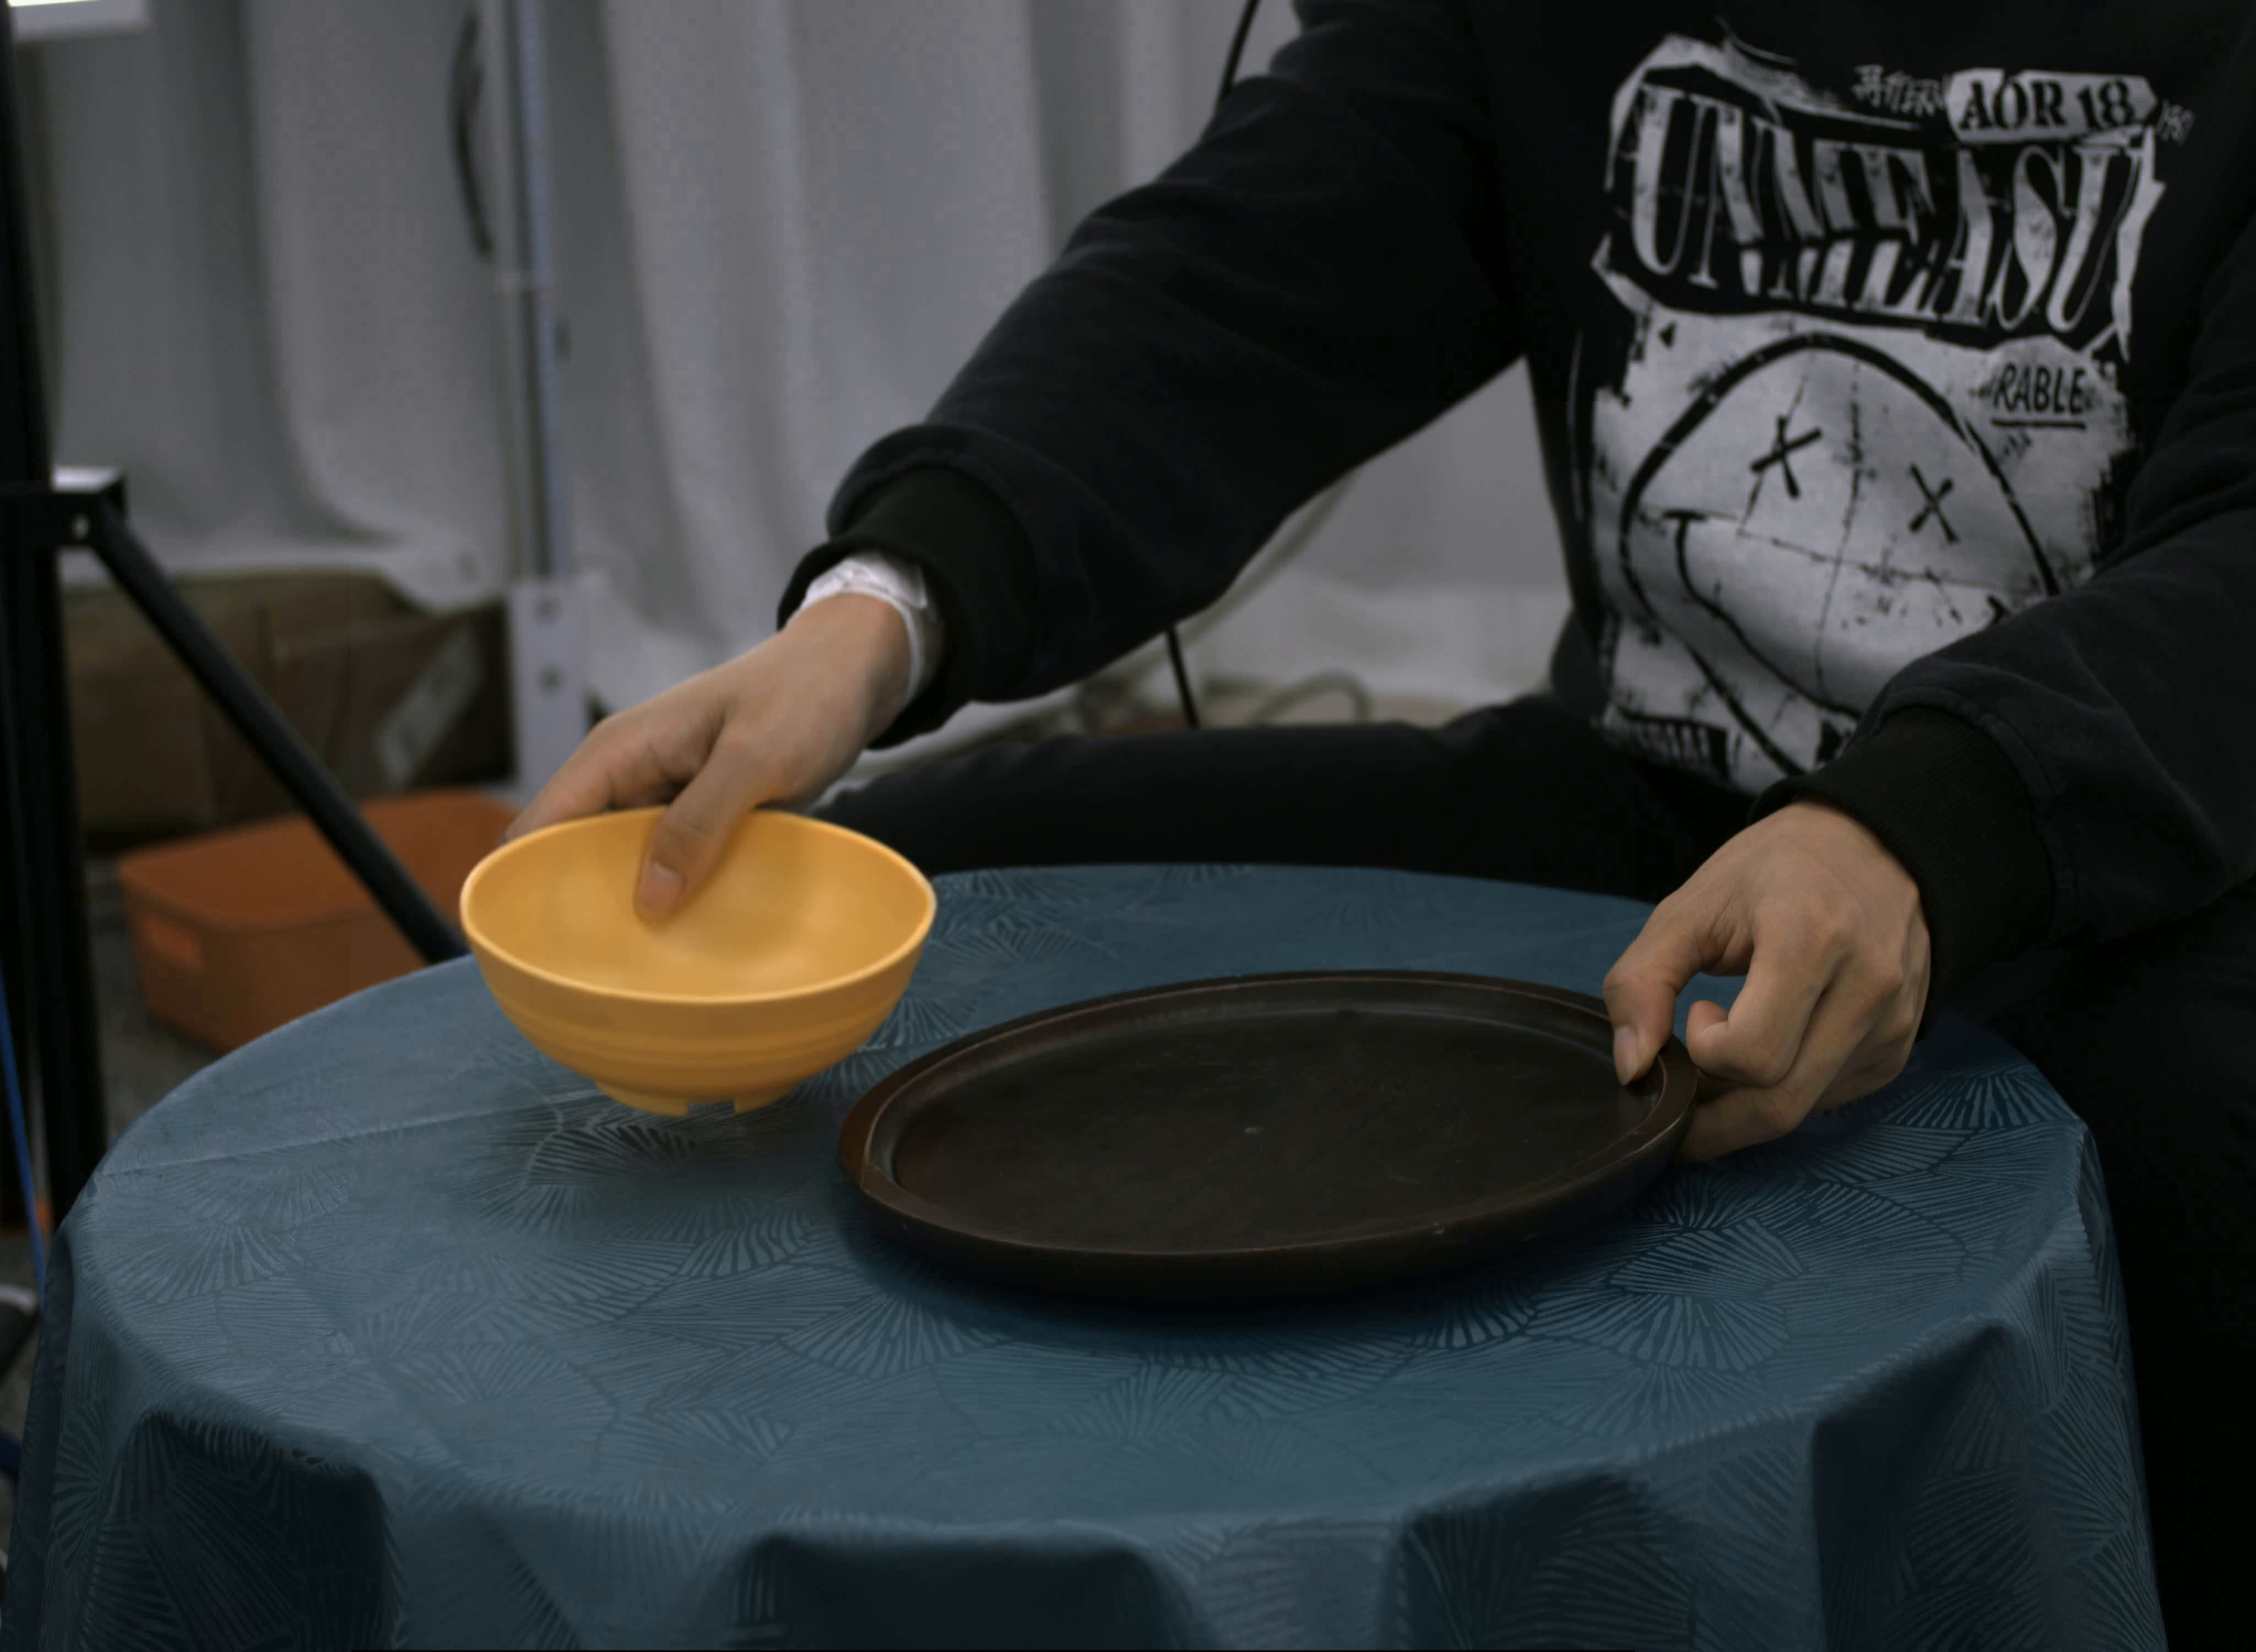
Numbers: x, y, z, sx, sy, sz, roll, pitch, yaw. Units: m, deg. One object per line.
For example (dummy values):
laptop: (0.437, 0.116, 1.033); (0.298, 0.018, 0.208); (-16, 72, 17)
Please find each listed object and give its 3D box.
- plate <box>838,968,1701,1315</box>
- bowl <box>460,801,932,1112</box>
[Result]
plate: (0.042, 0.090, 1.552); (0.254, 0.029, 0.256); (-7, 14, 0)
bowl: (-0.133, 0.047, 1.635); (0.144, 0.060, 0.146); (3, 22, -2)
